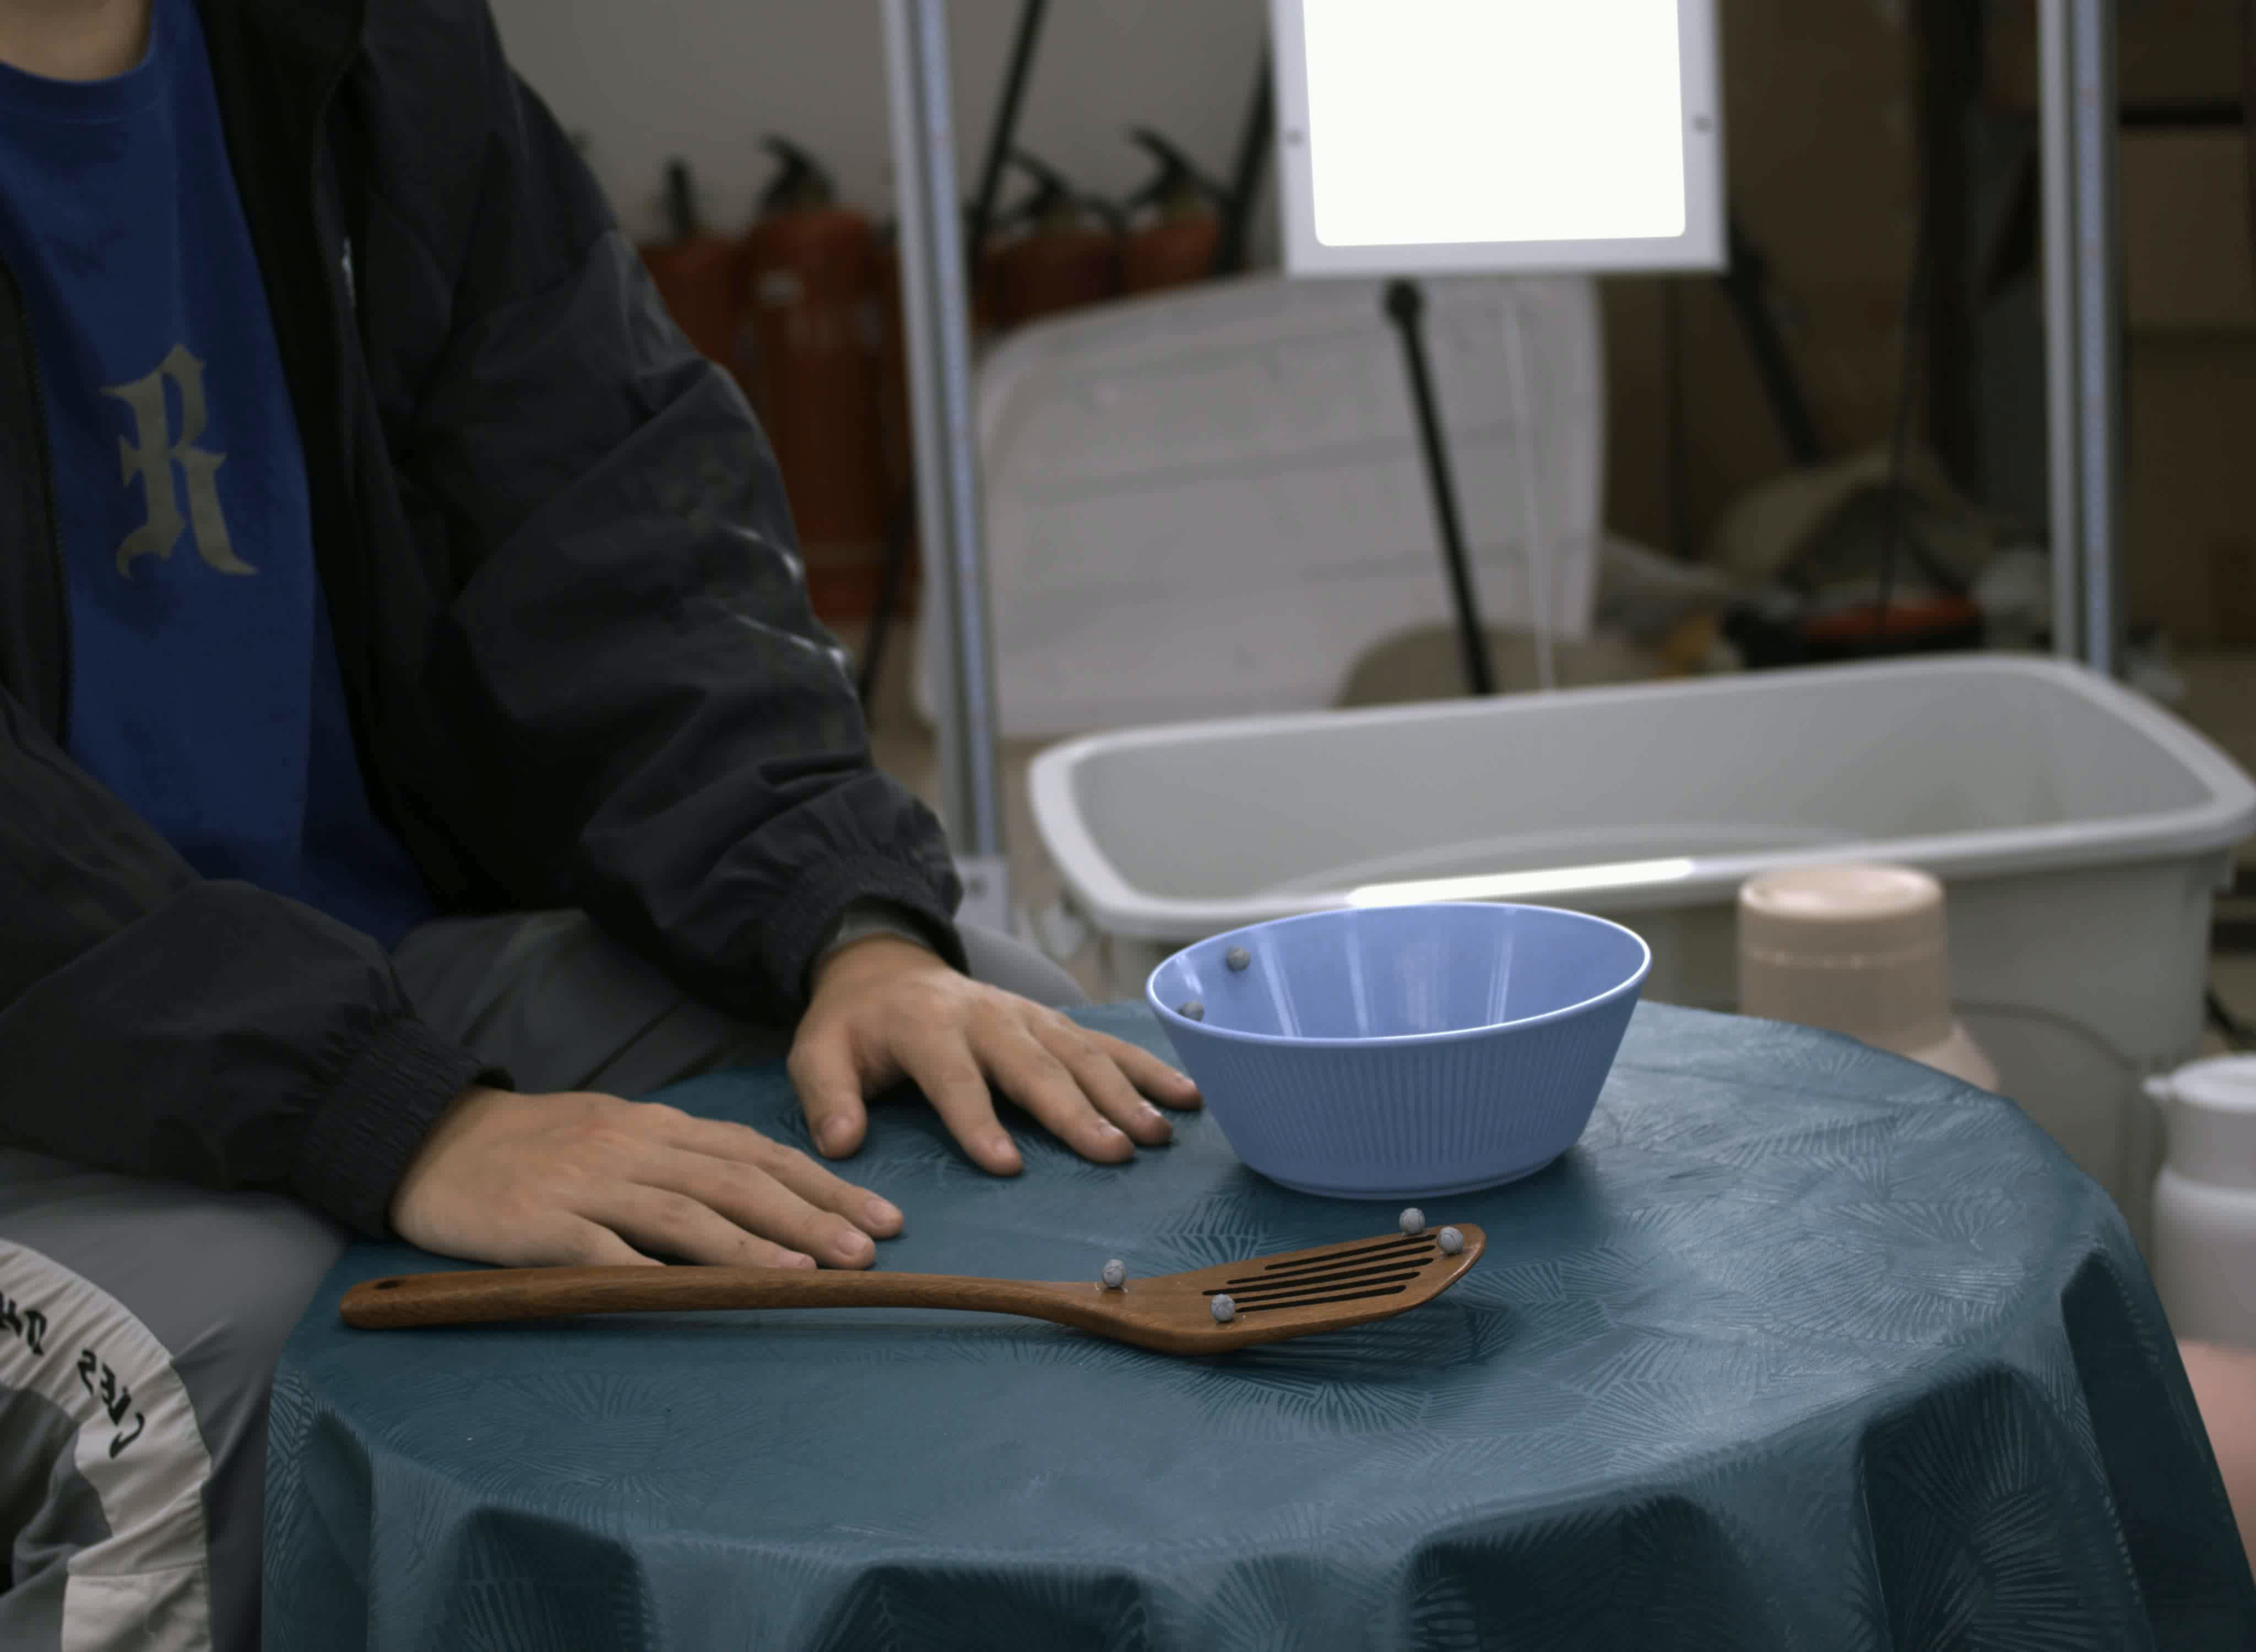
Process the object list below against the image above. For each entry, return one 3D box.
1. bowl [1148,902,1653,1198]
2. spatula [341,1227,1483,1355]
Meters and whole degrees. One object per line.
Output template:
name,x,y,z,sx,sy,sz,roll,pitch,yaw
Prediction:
bowl,0.097,0.080,1.903,0.175,0.070,0.176,-6,13,0
spatula,-0.076,0.152,1.779,0.391,0.024,0.084,-2,13,19
